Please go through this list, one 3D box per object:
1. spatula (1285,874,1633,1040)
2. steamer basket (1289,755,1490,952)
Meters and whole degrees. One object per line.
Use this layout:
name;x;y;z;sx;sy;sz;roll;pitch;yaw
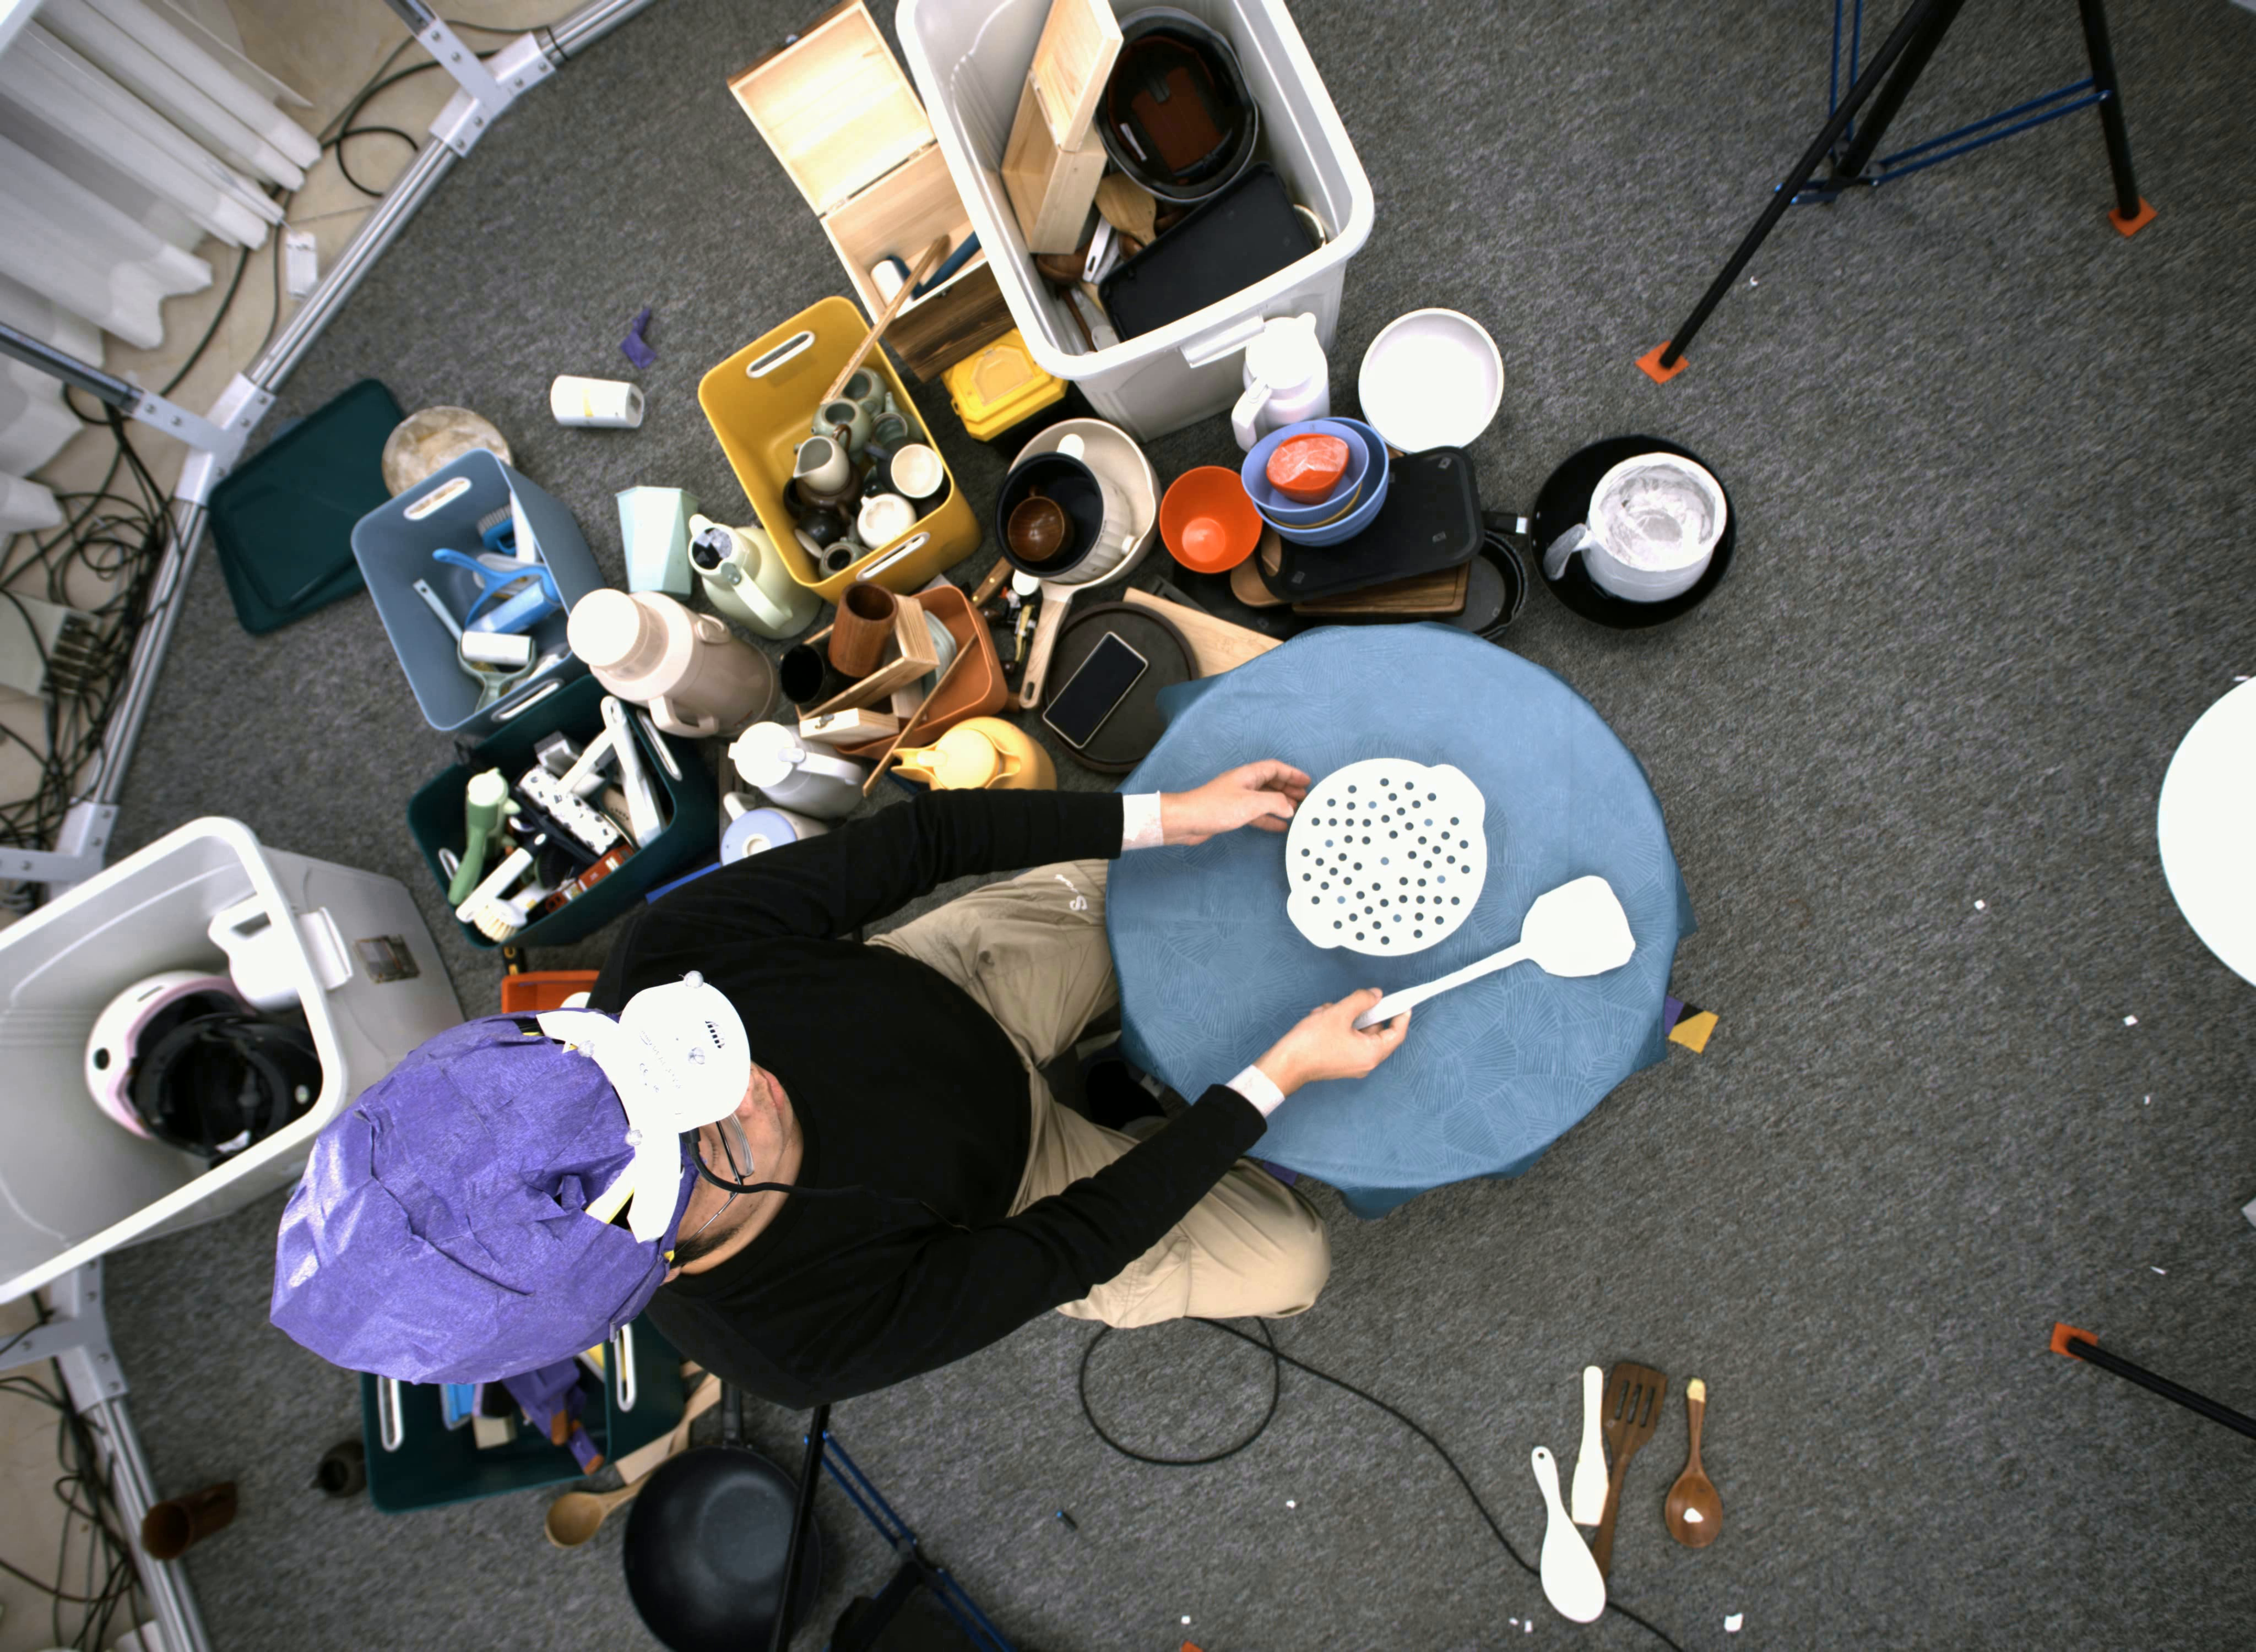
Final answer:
spatula;0.335;0.150;1.405;0.365;0.045;0.098;-21;91;-1
steamer basket;0.270;0.029;1.427;0.232;0.069;0.201;-42;80;6
